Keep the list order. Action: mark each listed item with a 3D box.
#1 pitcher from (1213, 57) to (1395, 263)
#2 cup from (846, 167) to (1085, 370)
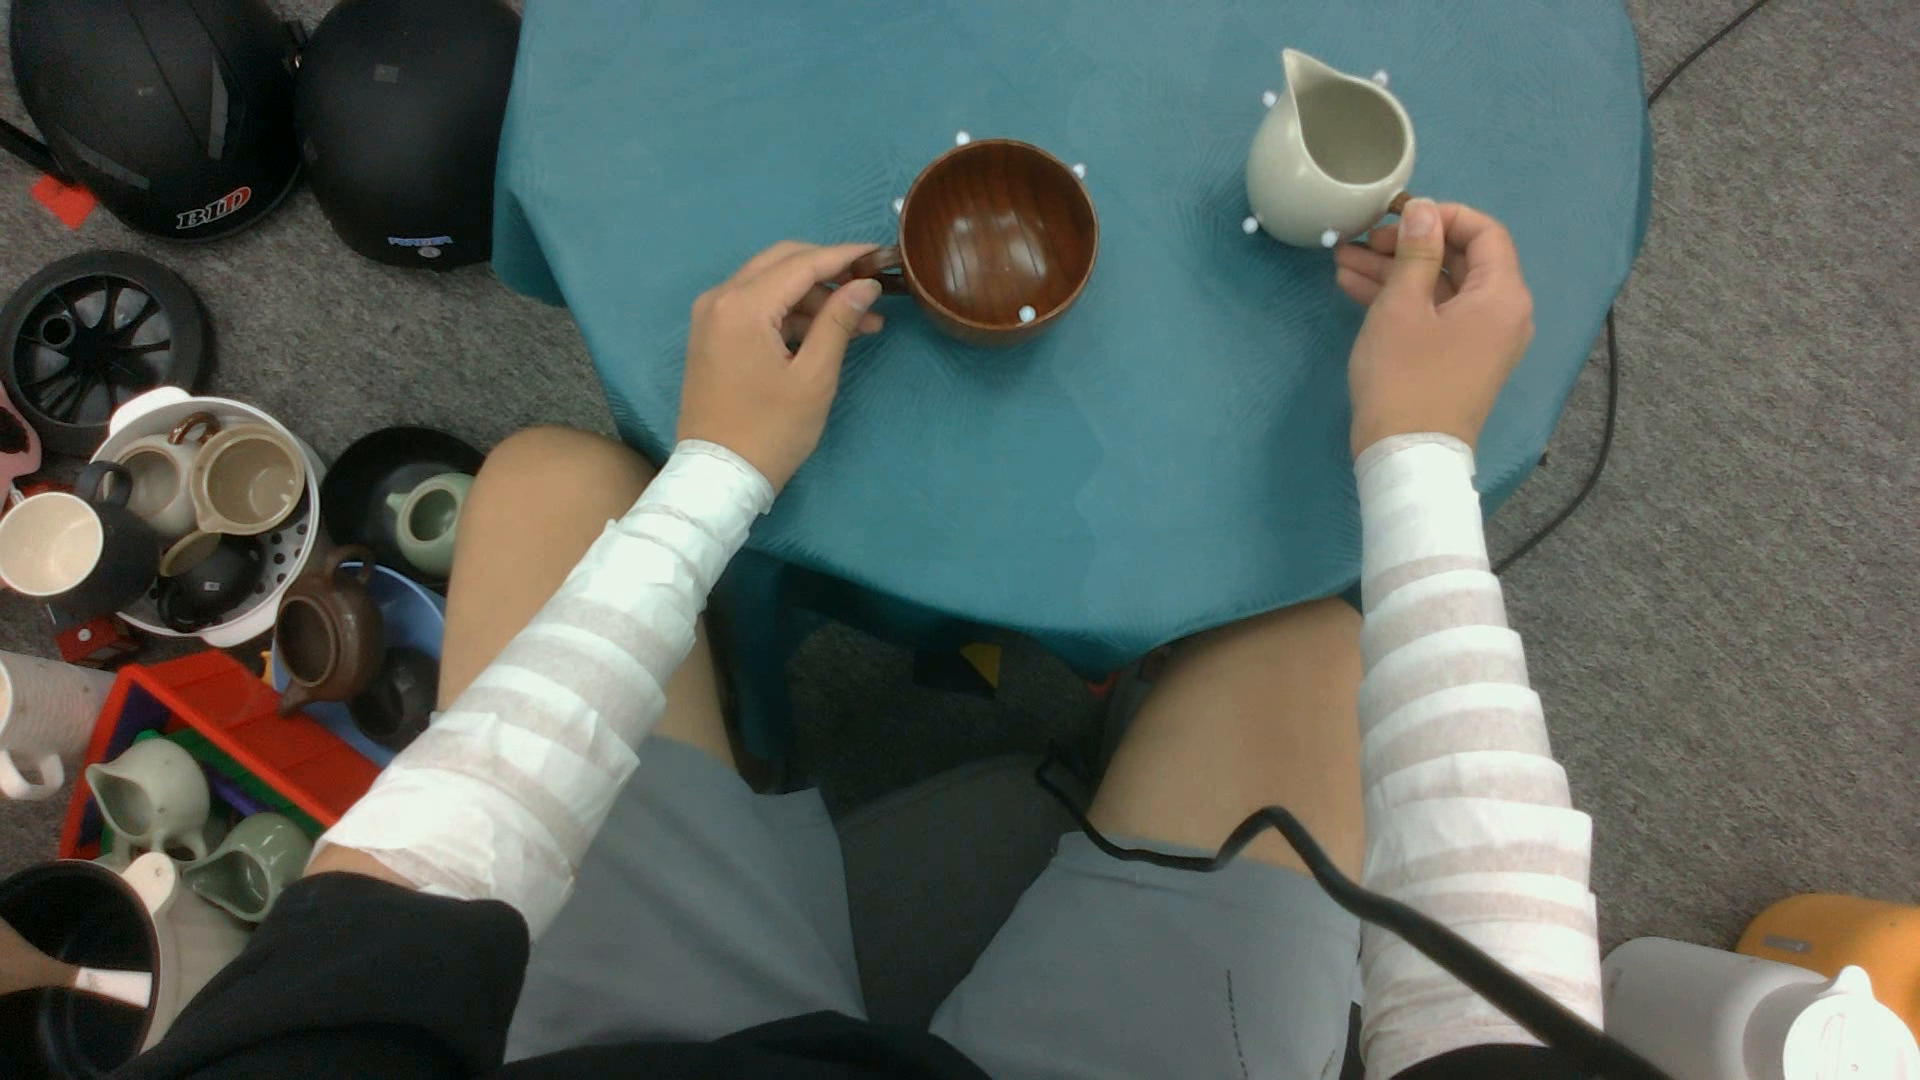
[{"bbox_3d":[0.171,-0.180,0.696,0.076,0.087,0.119,-39,81,-5],"label":"pitcher"},{"bbox_3d":[0.001,-0.127,0.693,0.119,0.067,0.096,-15,83,-3],"label":"cup"}]
